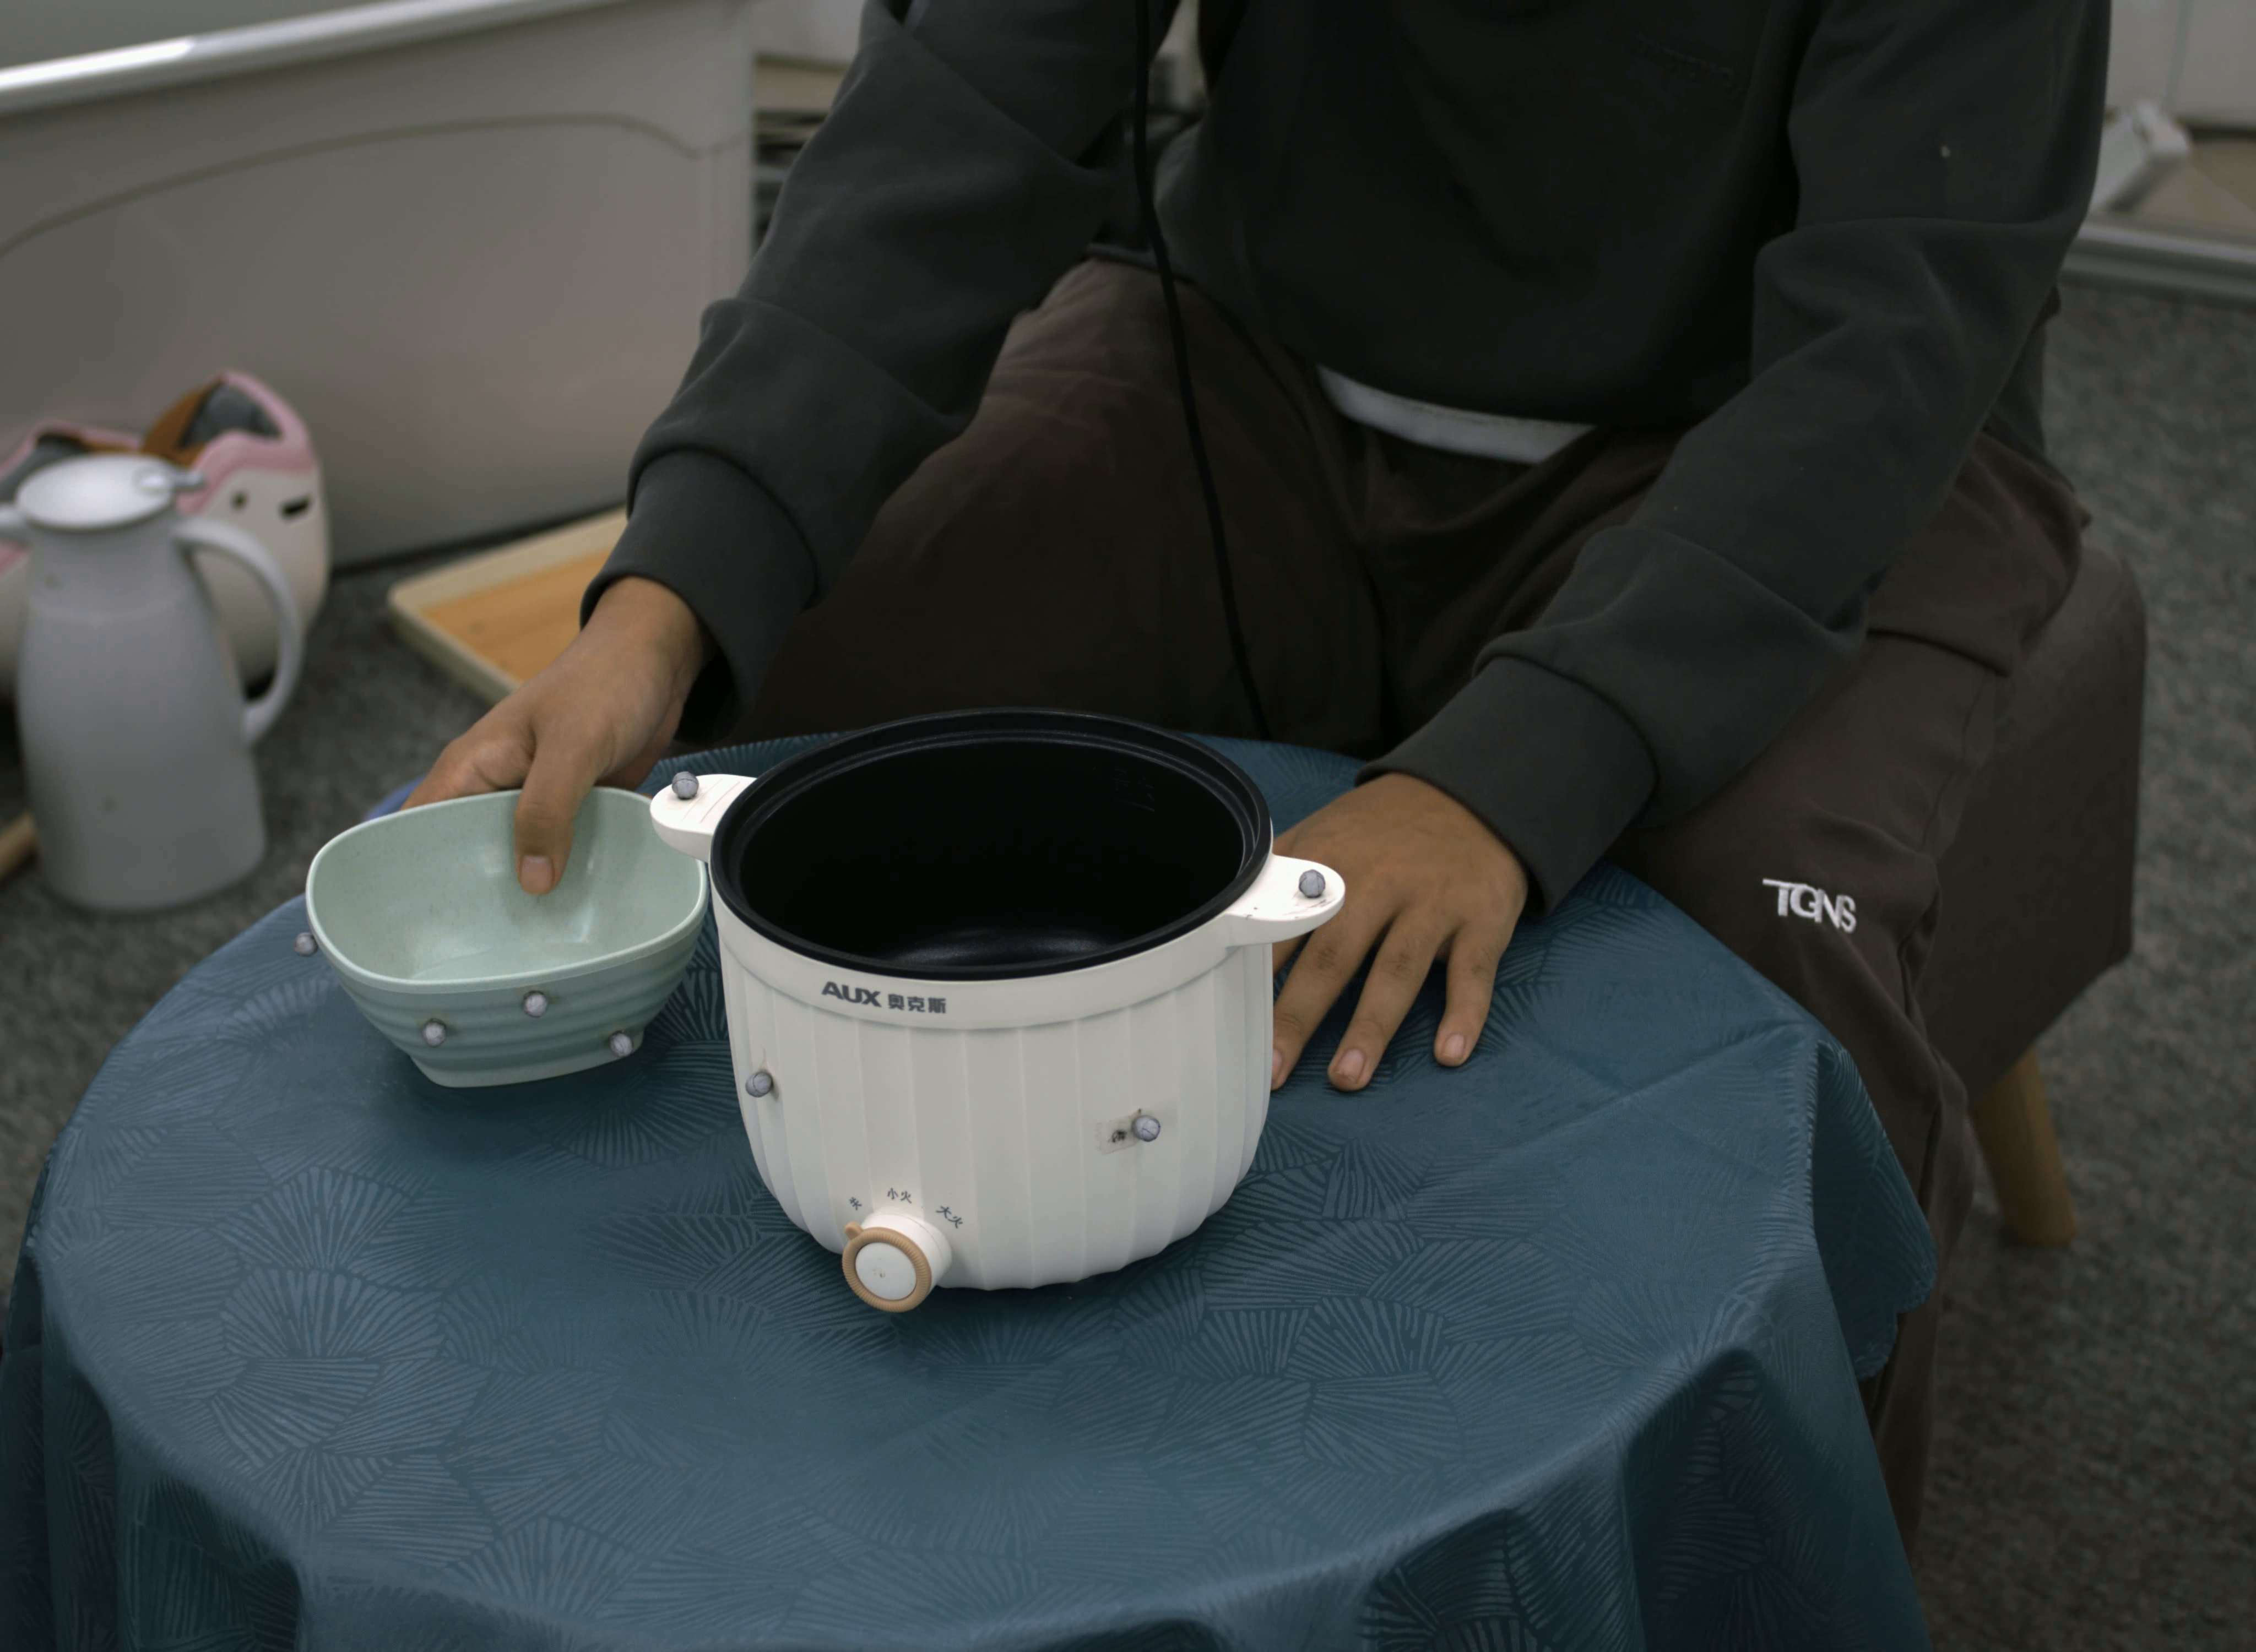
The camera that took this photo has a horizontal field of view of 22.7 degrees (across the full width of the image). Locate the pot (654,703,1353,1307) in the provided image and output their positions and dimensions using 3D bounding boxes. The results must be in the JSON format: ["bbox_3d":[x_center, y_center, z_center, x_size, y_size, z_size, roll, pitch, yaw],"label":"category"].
[{"bbox_3d":[-0.040,0.062,1.833,0.238,0.141,0.193,6,25,20],"label":"pot"}]

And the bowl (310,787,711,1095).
[{"bbox_3d":[-0.214,0.046,1.971,0.151,0.058,0.154,-2,29,1],"label":"bowl"}]
